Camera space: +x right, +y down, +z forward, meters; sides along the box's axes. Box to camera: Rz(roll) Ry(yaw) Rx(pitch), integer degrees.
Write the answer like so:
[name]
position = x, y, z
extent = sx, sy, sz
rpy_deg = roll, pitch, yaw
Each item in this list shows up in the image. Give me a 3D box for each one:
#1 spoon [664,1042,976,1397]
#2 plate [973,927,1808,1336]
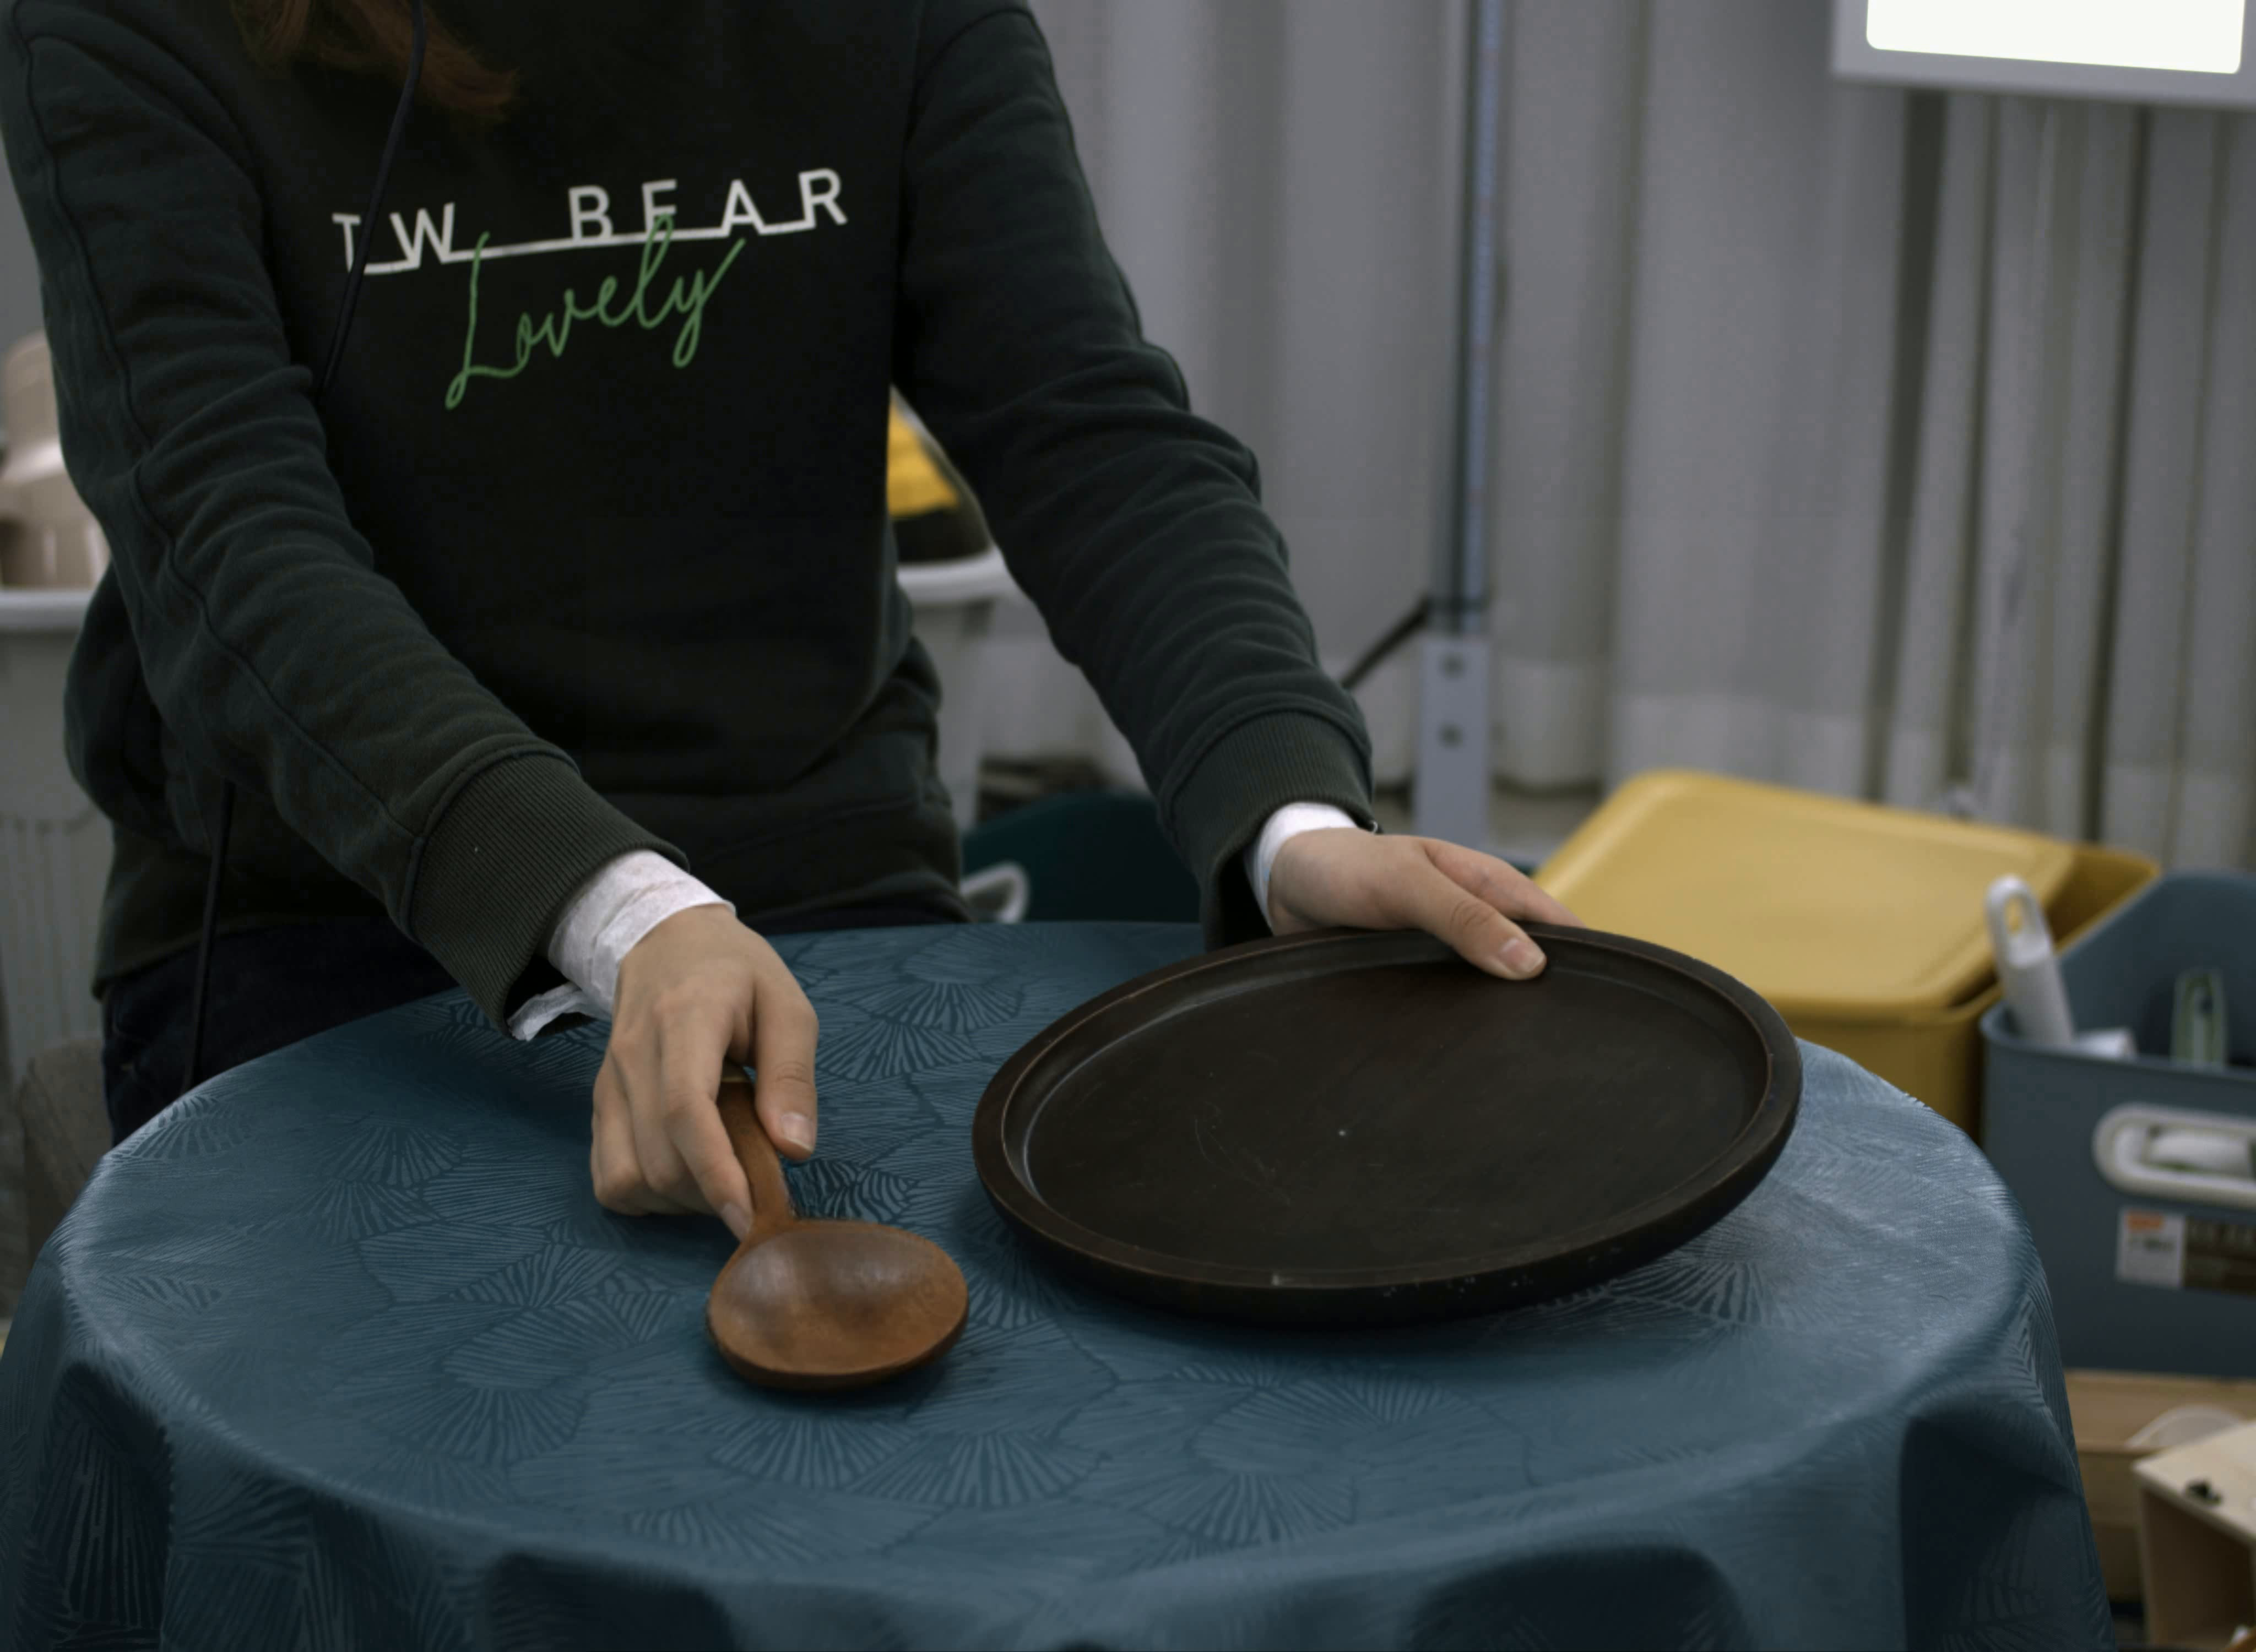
[spoon]
position = -0.100, 0.114, 1.541
extent = 0.075, 0.017, 0.213
rpy_deg = -14, 27, -14
[plate]
position = 0.079, 0.089, 1.598
extent = 0.254, 0.029, 0.253
rpy_deg = -4, 24, 2
